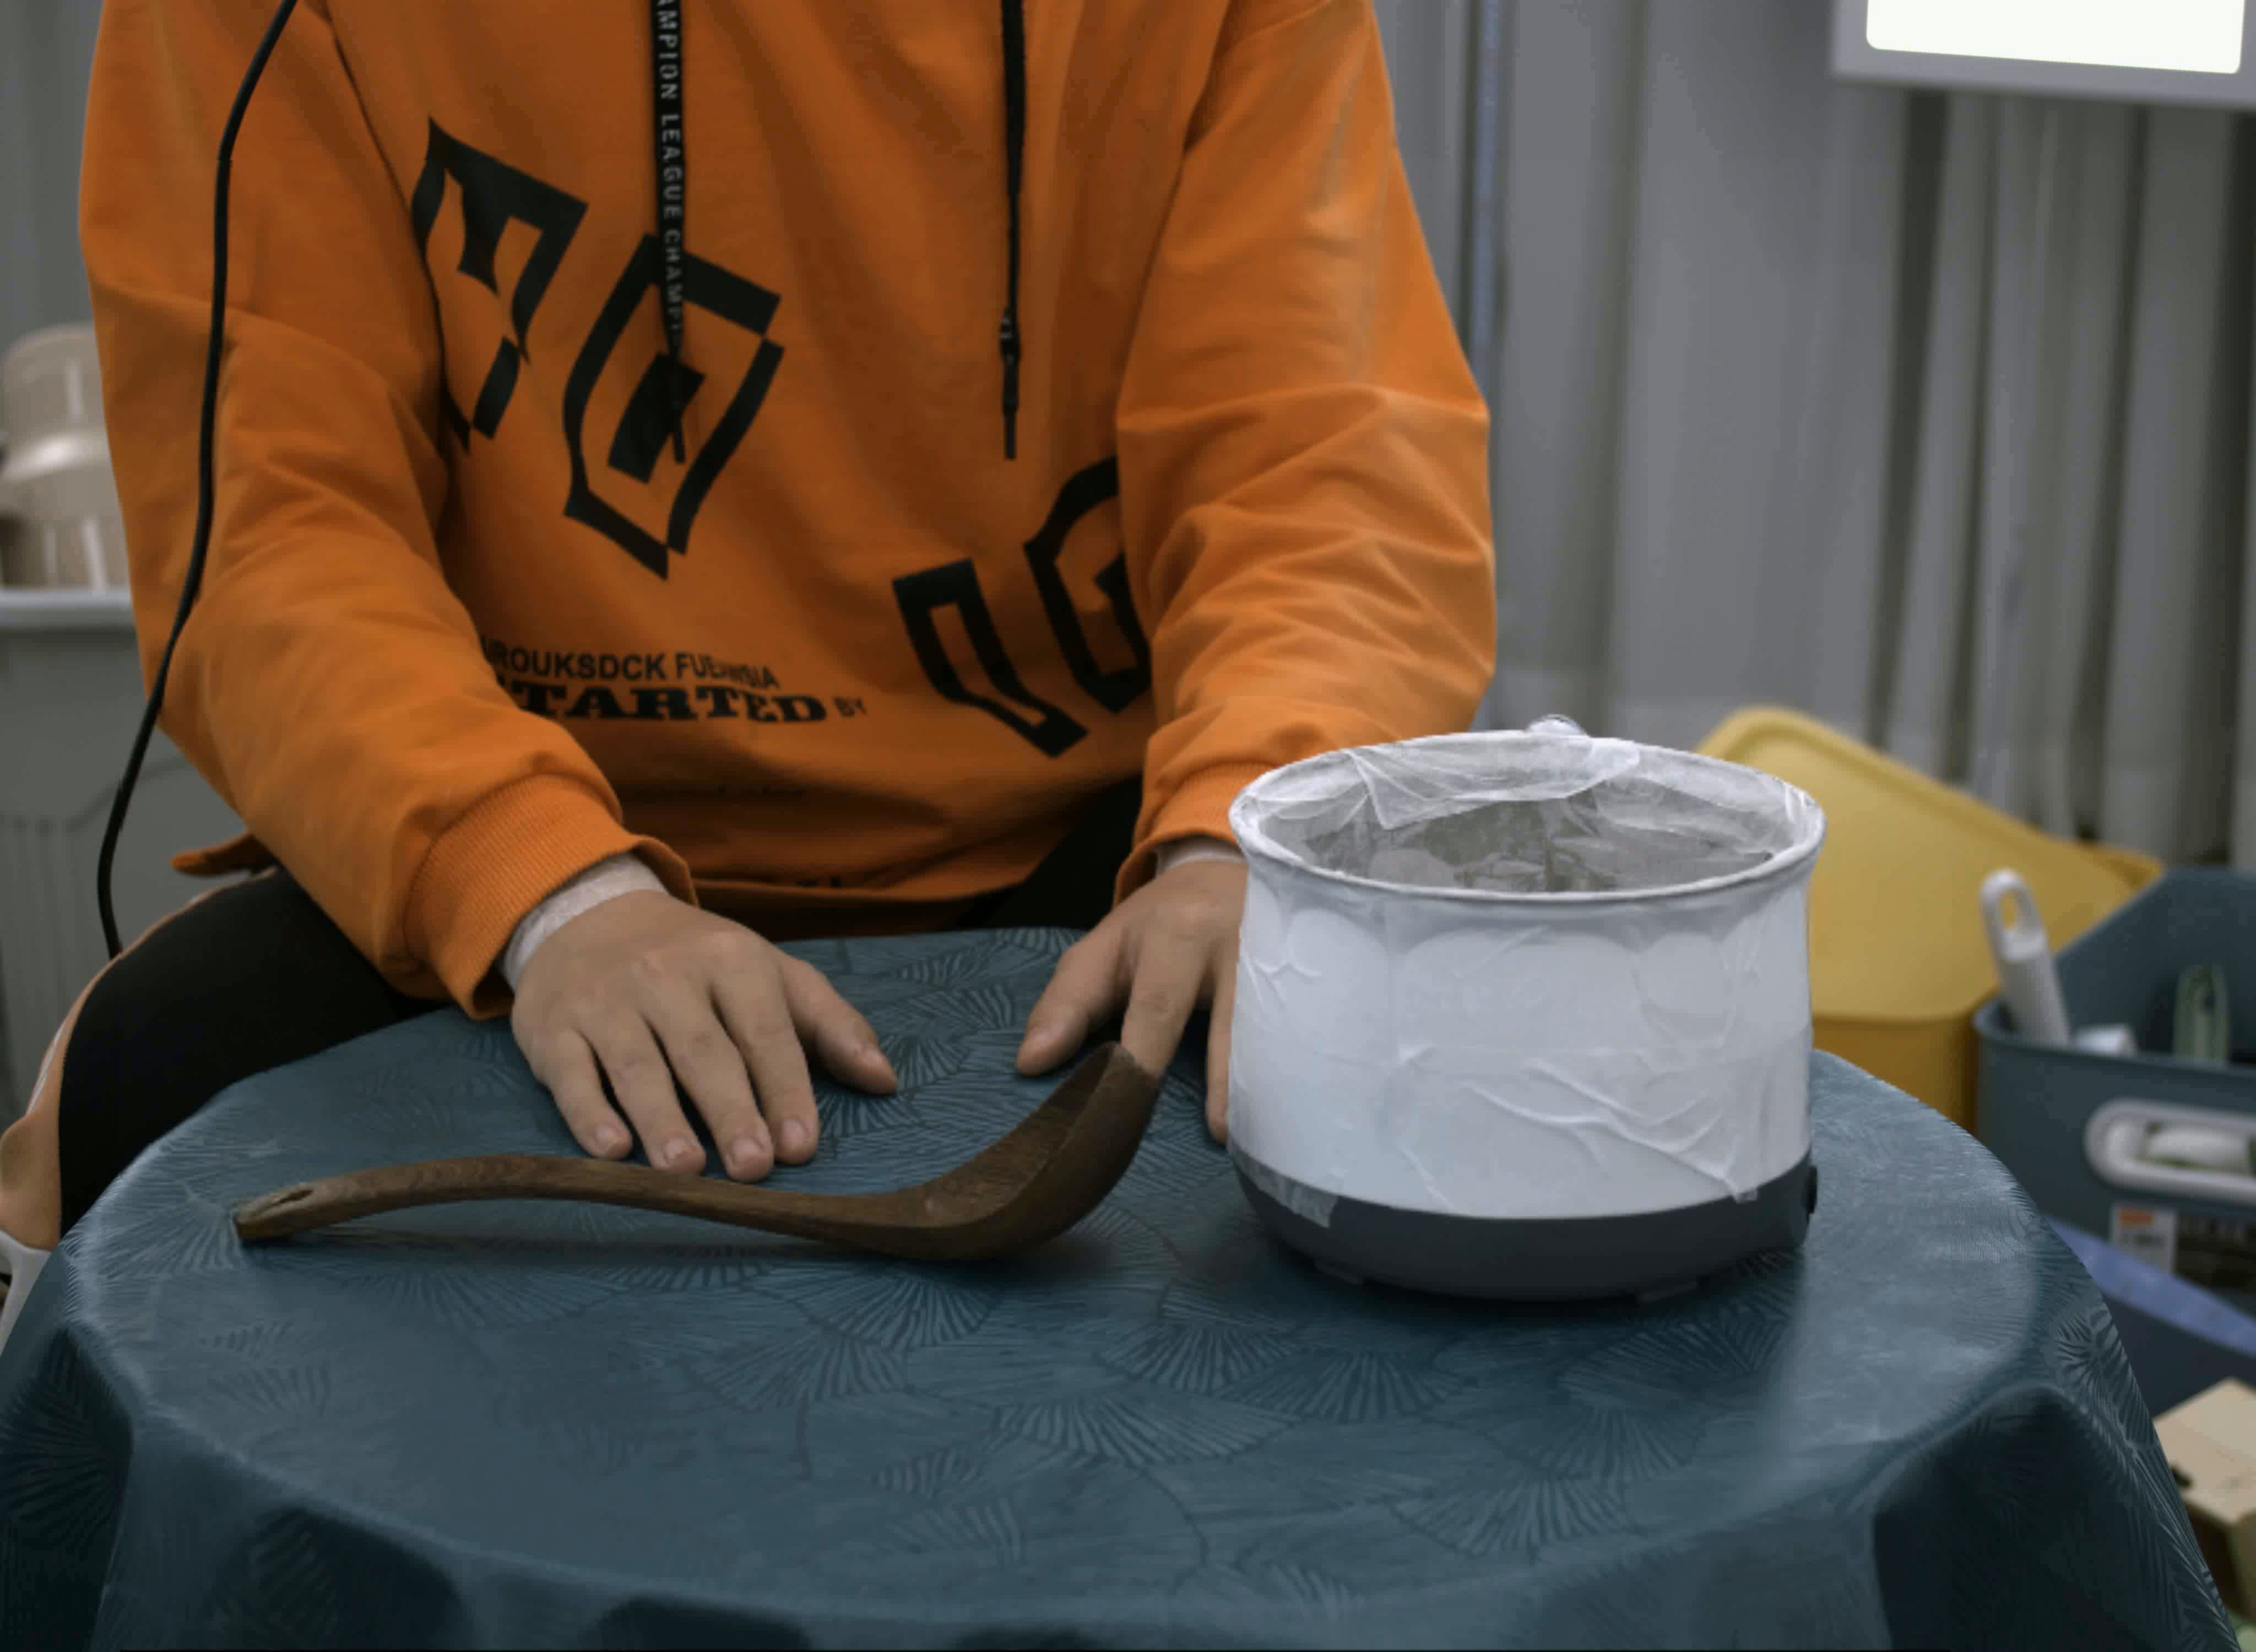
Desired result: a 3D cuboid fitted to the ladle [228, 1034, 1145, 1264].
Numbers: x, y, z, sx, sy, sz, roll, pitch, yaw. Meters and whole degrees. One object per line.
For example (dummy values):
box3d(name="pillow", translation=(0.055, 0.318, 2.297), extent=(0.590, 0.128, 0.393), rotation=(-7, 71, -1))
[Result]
box3d(name="ladle", translation=(-0.131, 0.092, 1.561), extent=(0.273, 0.072, 0.076), rotation=(2, 13, 3))

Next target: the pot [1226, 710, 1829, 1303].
box3d(name="pot", translation=(0.121, 0.049, 1.597), extent=(0.178, 0.138, 0.233), rotation=(3, 16, 7))
